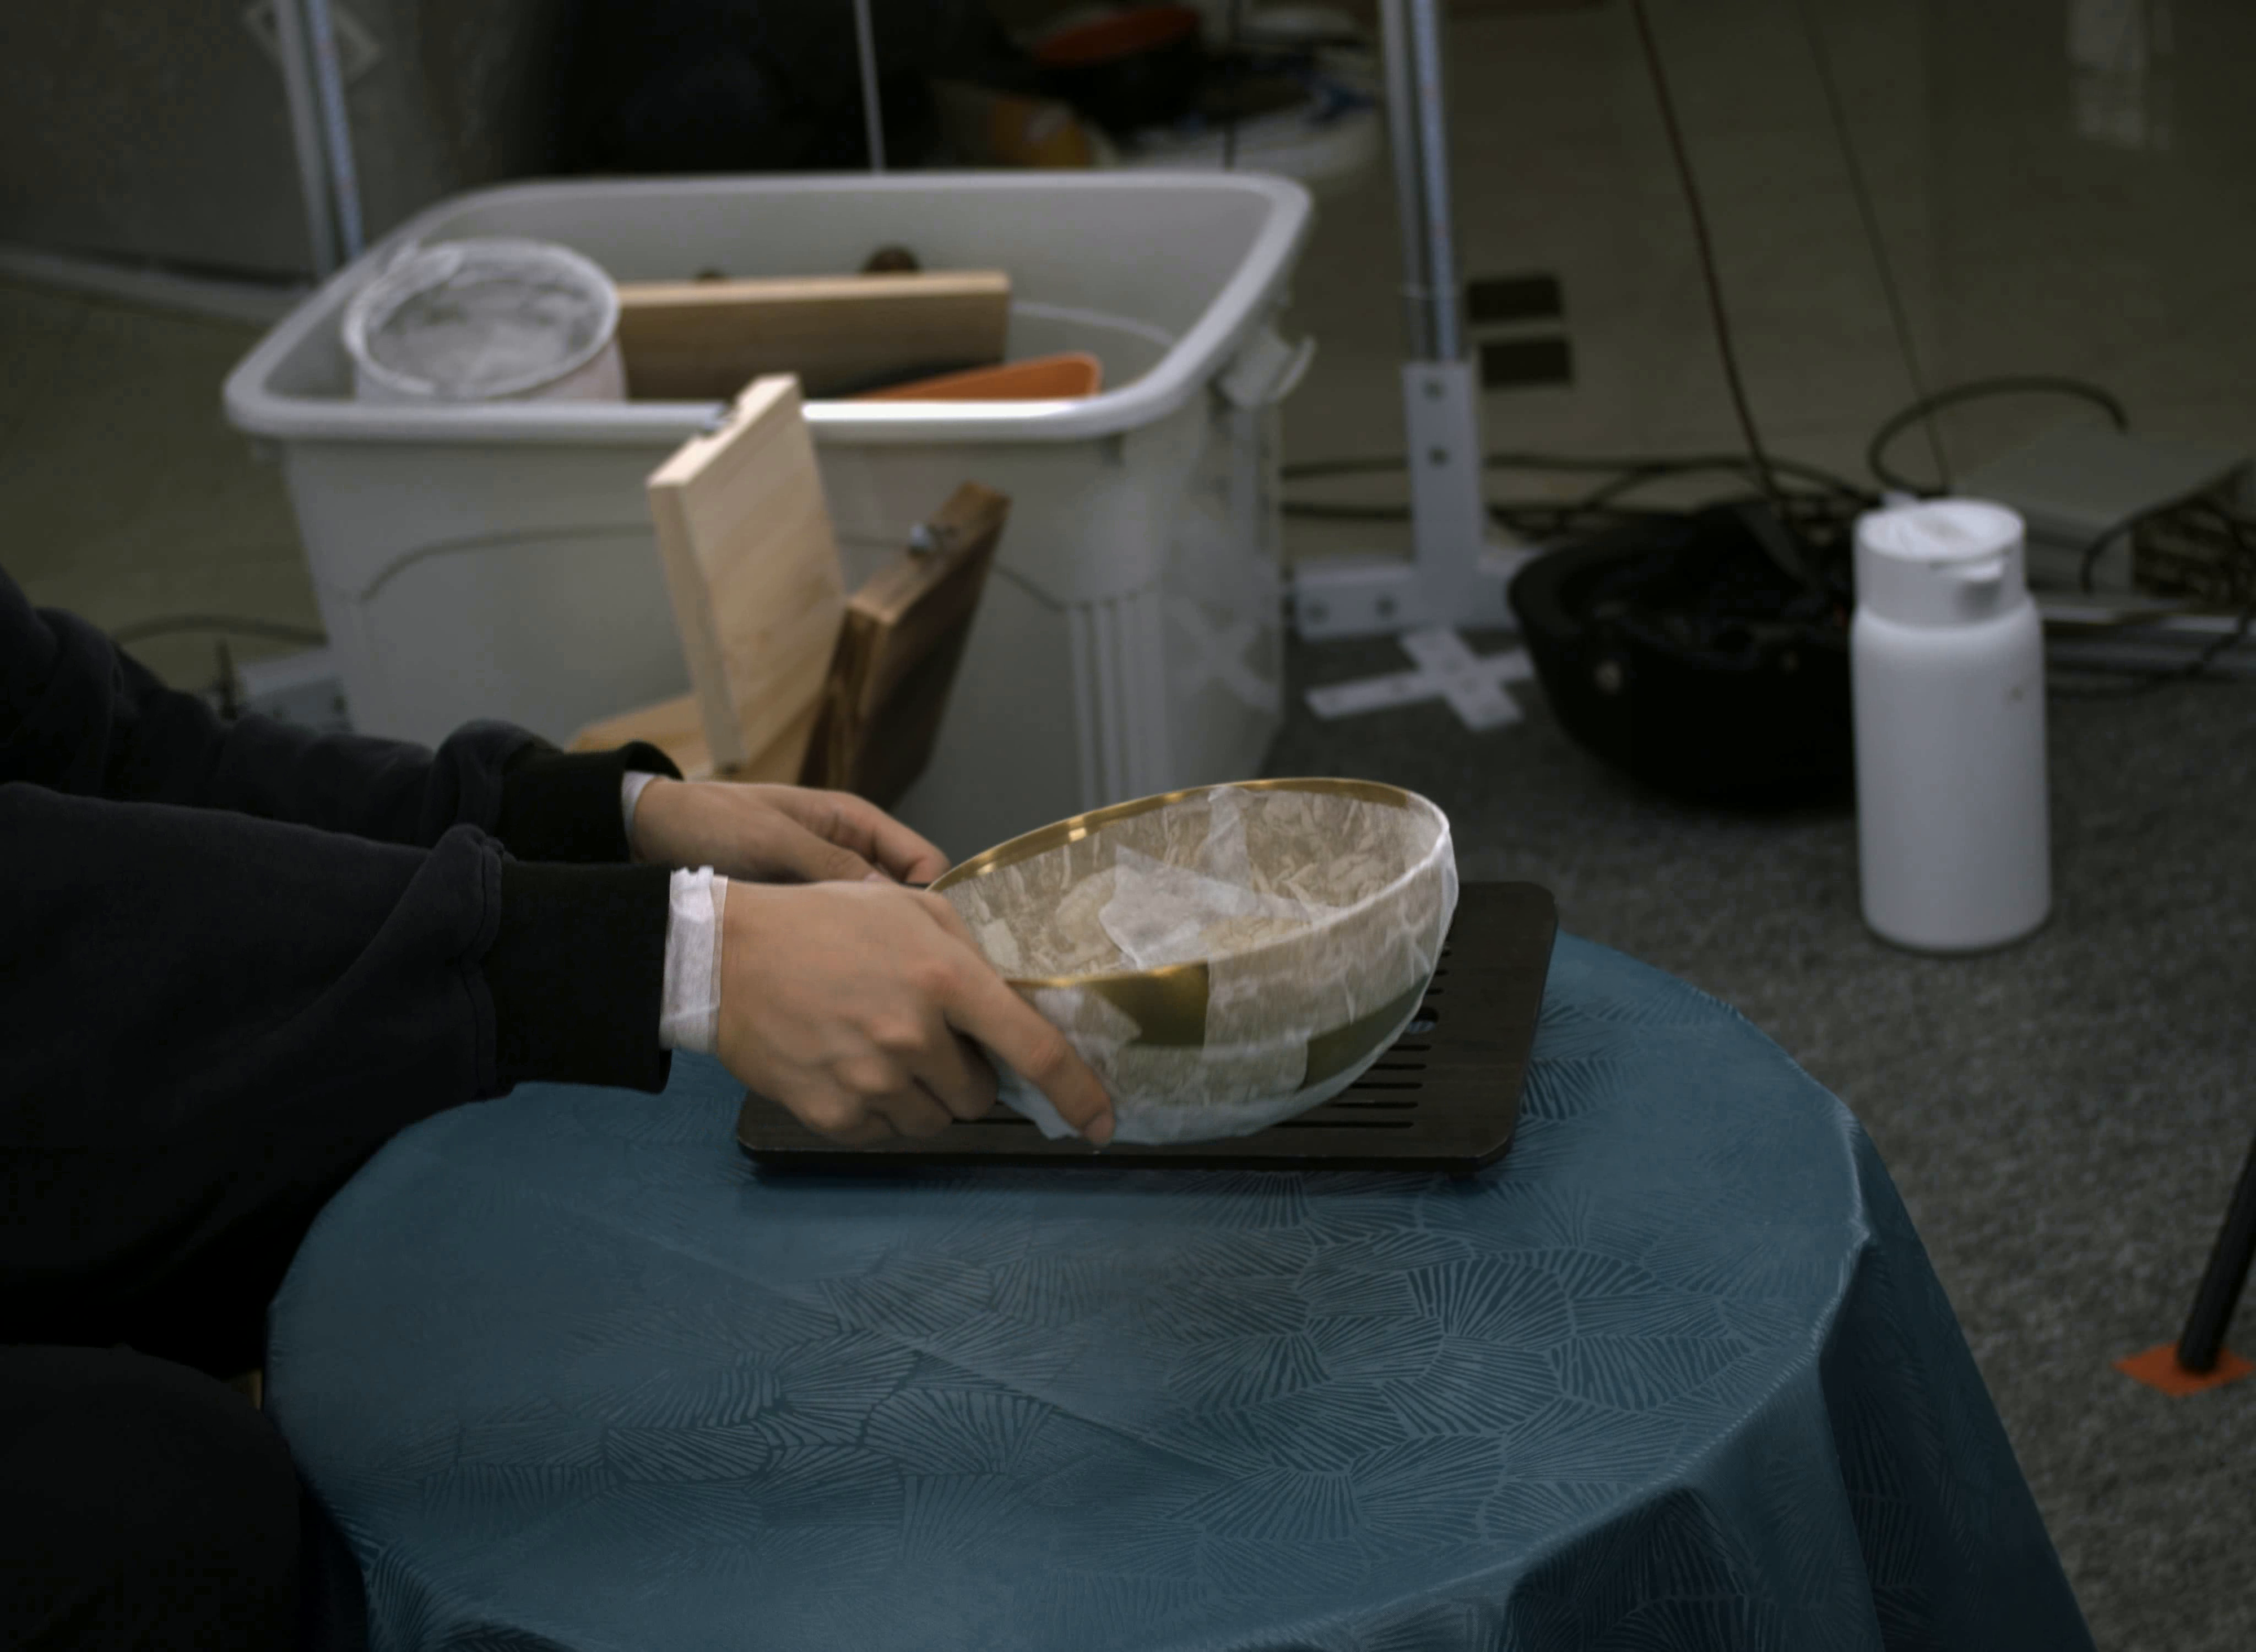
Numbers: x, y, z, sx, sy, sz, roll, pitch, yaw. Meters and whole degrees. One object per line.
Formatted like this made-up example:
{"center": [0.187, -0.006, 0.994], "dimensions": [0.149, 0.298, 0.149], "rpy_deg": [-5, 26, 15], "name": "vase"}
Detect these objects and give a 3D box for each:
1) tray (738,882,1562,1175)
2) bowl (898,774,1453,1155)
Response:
{"center": [0.011, 0.079, 2.221], "dimensions": [0.305, 0.019, 0.167], "rpy_deg": [0, 38, 14], "name": "tray"}
{"center": [0.022, 0.061, 2.045], "dimensions": [0.214, 0.096, 0.212], "rpy_deg": [-11, 19, 4], "name": "bowl"}
